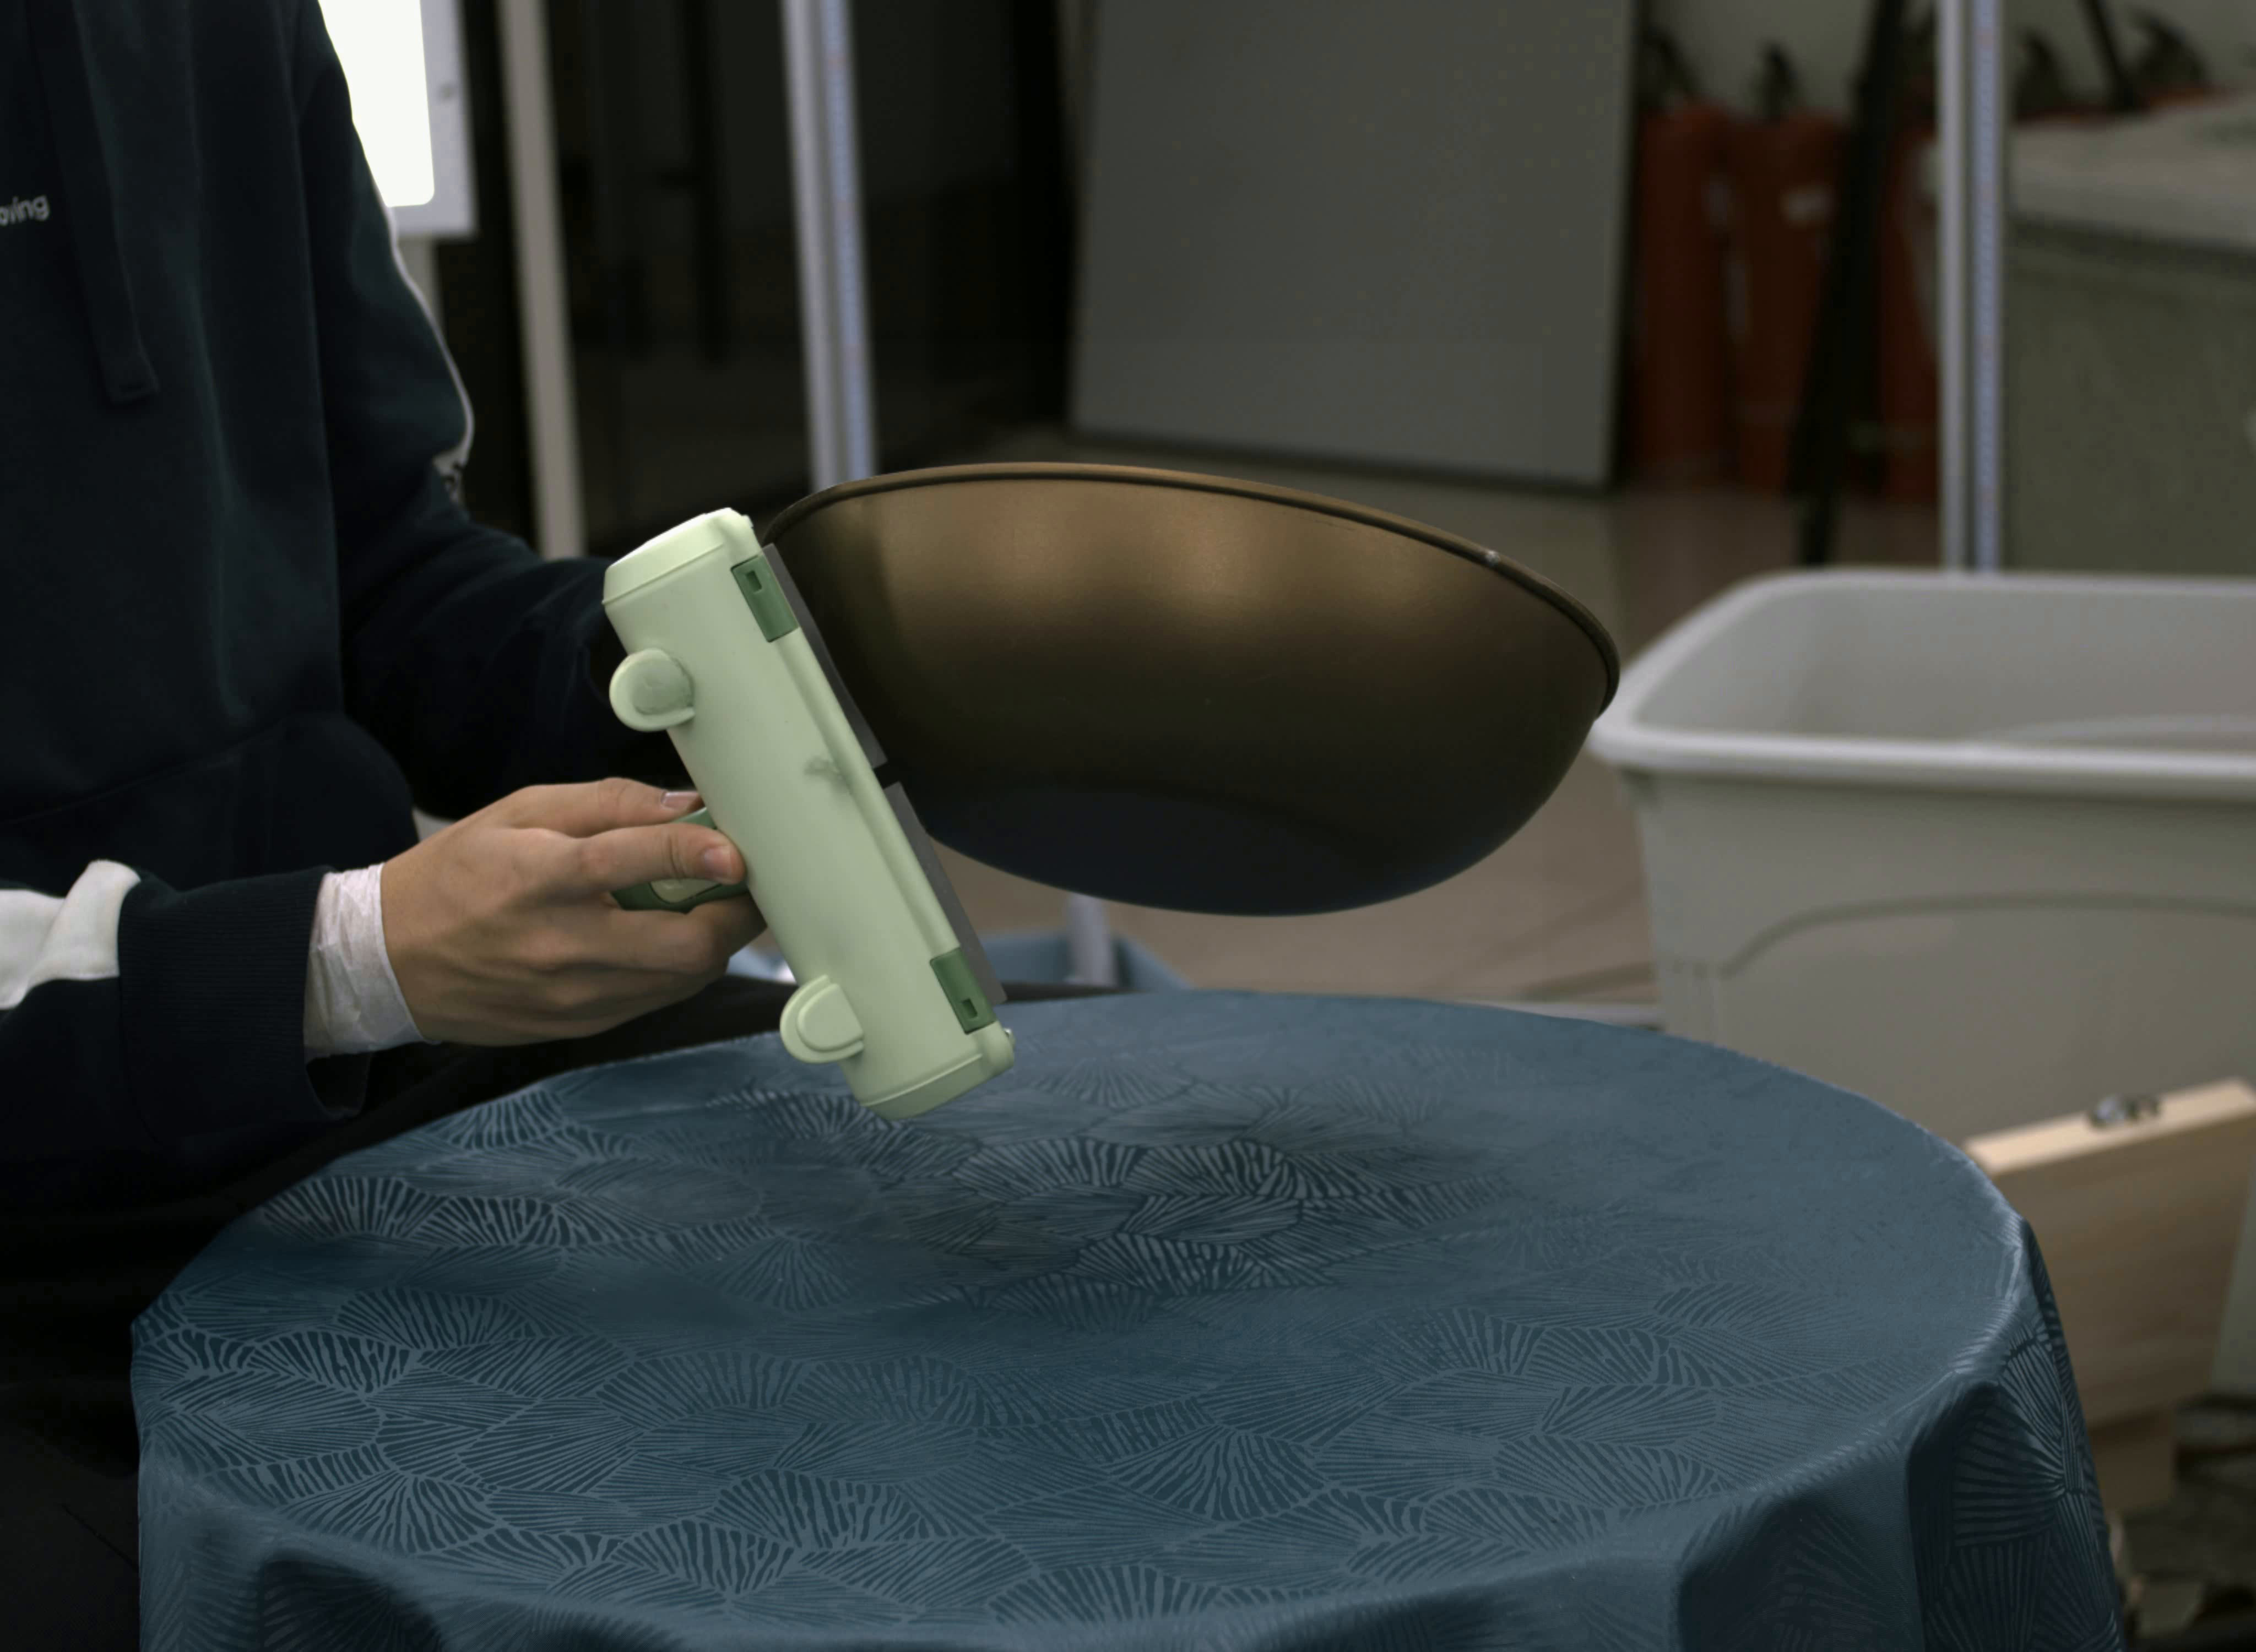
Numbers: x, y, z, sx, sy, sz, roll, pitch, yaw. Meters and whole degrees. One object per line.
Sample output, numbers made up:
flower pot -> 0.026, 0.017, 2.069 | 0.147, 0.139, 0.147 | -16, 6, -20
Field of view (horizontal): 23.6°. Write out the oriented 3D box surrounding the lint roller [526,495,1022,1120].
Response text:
lint roller -> -0.141, 0.016, 1.696 | 0.184, 0.200, 0.081 | -25, 4, 36

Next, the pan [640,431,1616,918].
pan -> -0.042, -0.019, 1.790 | 0.282, 0.088, 0.468 | 20, -21, -33
